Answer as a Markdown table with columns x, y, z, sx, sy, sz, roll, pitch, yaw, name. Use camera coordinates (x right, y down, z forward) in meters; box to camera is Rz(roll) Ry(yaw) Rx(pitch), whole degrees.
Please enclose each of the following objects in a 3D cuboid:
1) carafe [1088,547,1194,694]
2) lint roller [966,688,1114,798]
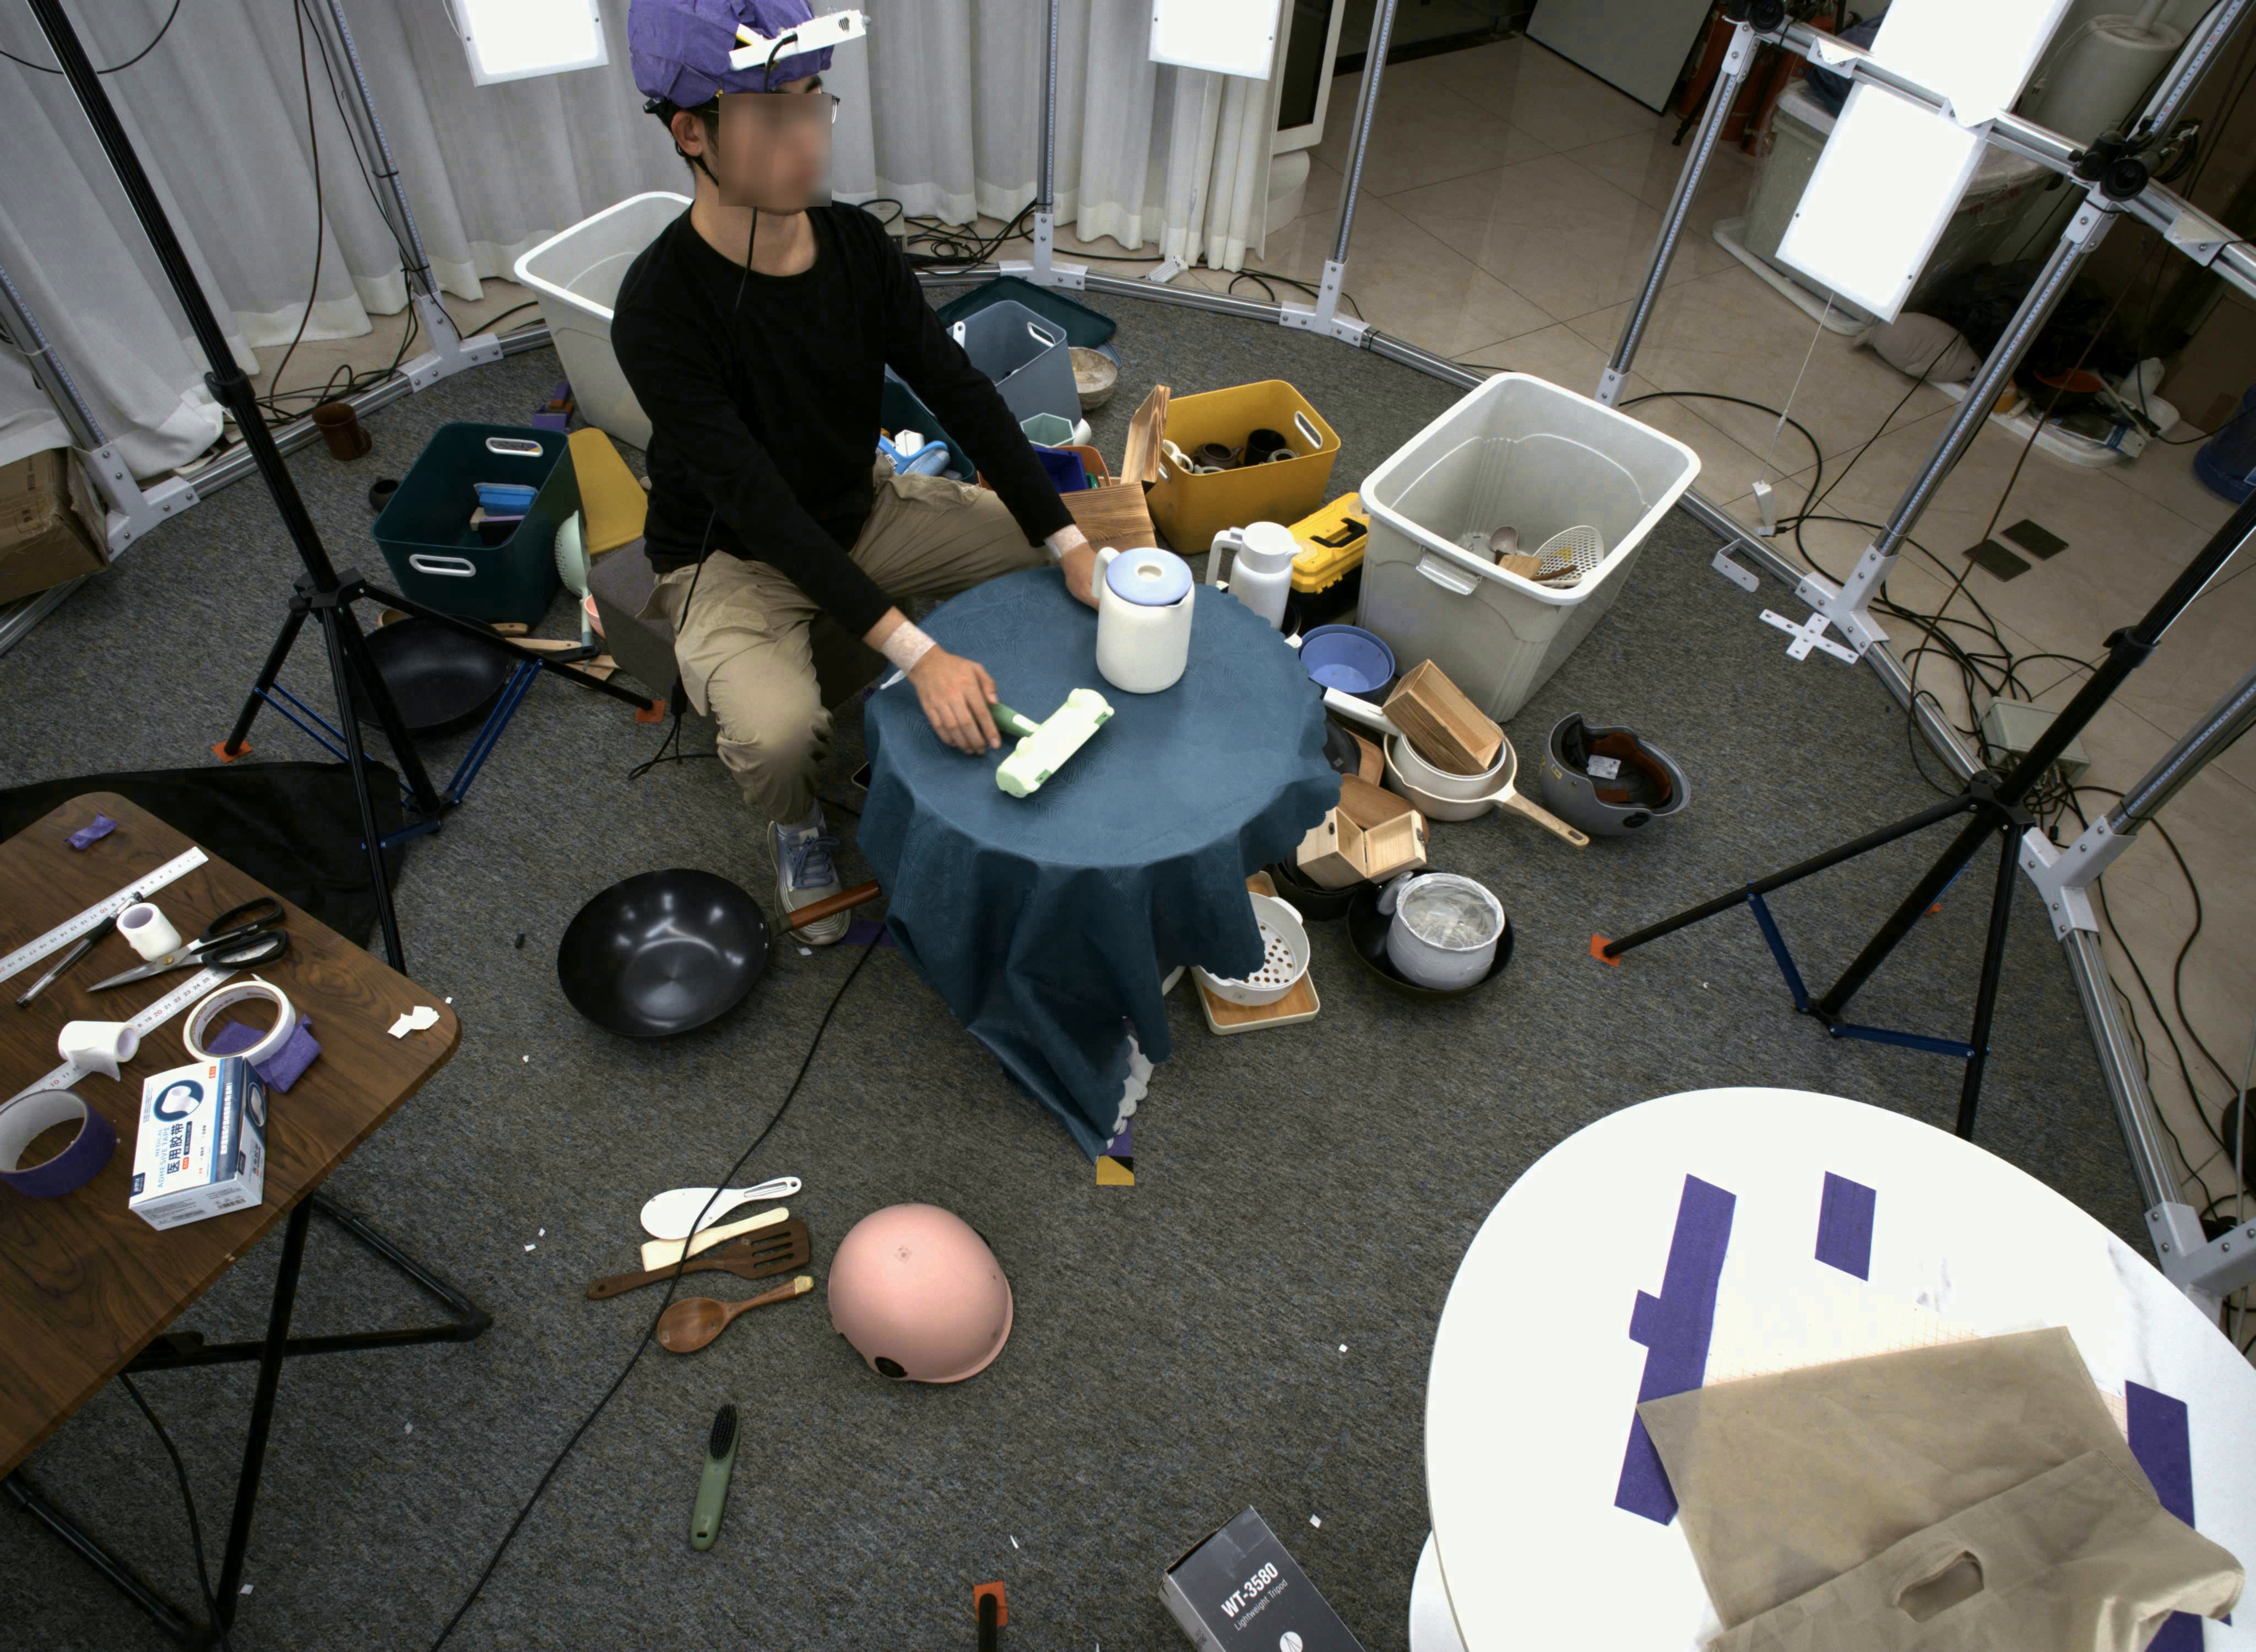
| x | y | z | sx | sy | sz | roll | pitch | yaw | name |
| --- | --- | --- | --- | --- | --- | --- | --- | --- | --- |
| 0.008 | -0.305 | 1.824 | 0.133 | 0.178 | 0.194 | -29 | 55 | -26 | carafe |
| -0.145 | -0.145 | 1.737 | 0.185 | 0.080 | 0.201 | 30 | 53 | 18 | lint roller |
